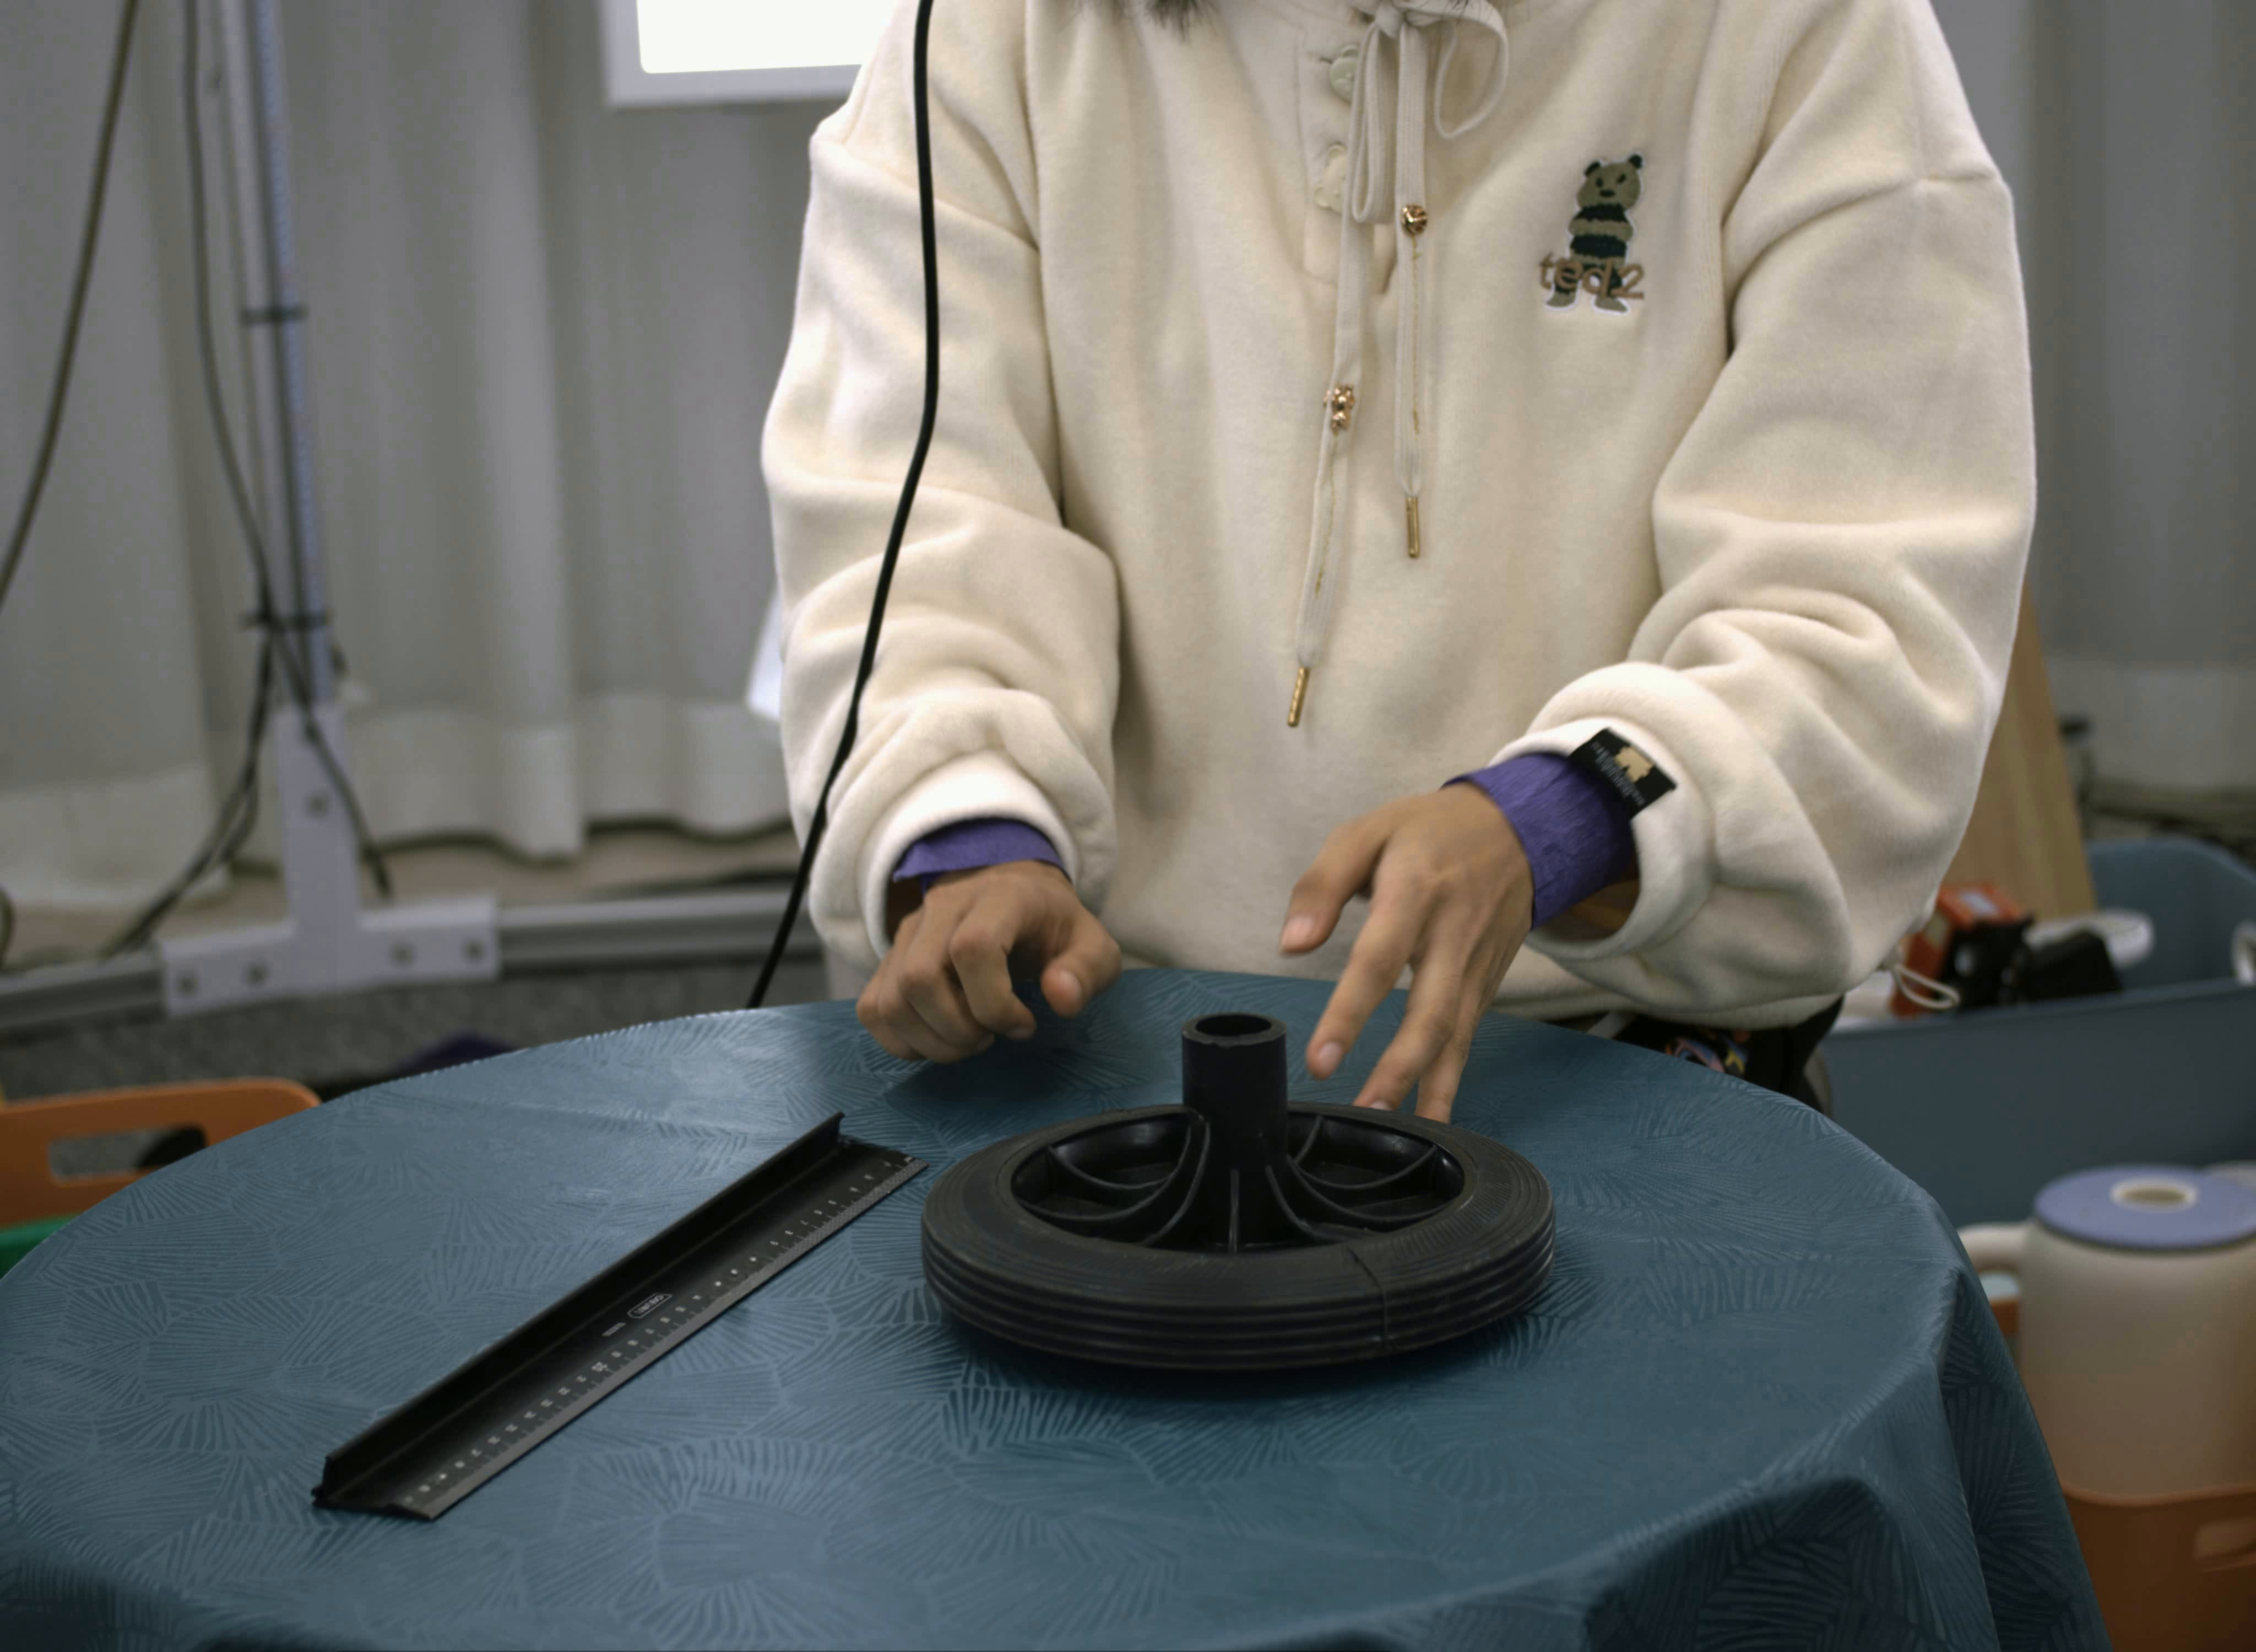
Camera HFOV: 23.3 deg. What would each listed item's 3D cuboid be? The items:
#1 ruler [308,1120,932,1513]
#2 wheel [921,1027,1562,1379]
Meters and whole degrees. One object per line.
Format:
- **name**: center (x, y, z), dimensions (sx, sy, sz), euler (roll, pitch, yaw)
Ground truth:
- **ruler**: center (-0.143, 0.140, 1.615), dimensions (0.039, 0.017, 0.313), euler (8, 17, 24)
- **wheel**: center (0.033, 0.101, 1.610), dimensions (0.189, 0.079, 0.188), euler (2, 15, 11)
